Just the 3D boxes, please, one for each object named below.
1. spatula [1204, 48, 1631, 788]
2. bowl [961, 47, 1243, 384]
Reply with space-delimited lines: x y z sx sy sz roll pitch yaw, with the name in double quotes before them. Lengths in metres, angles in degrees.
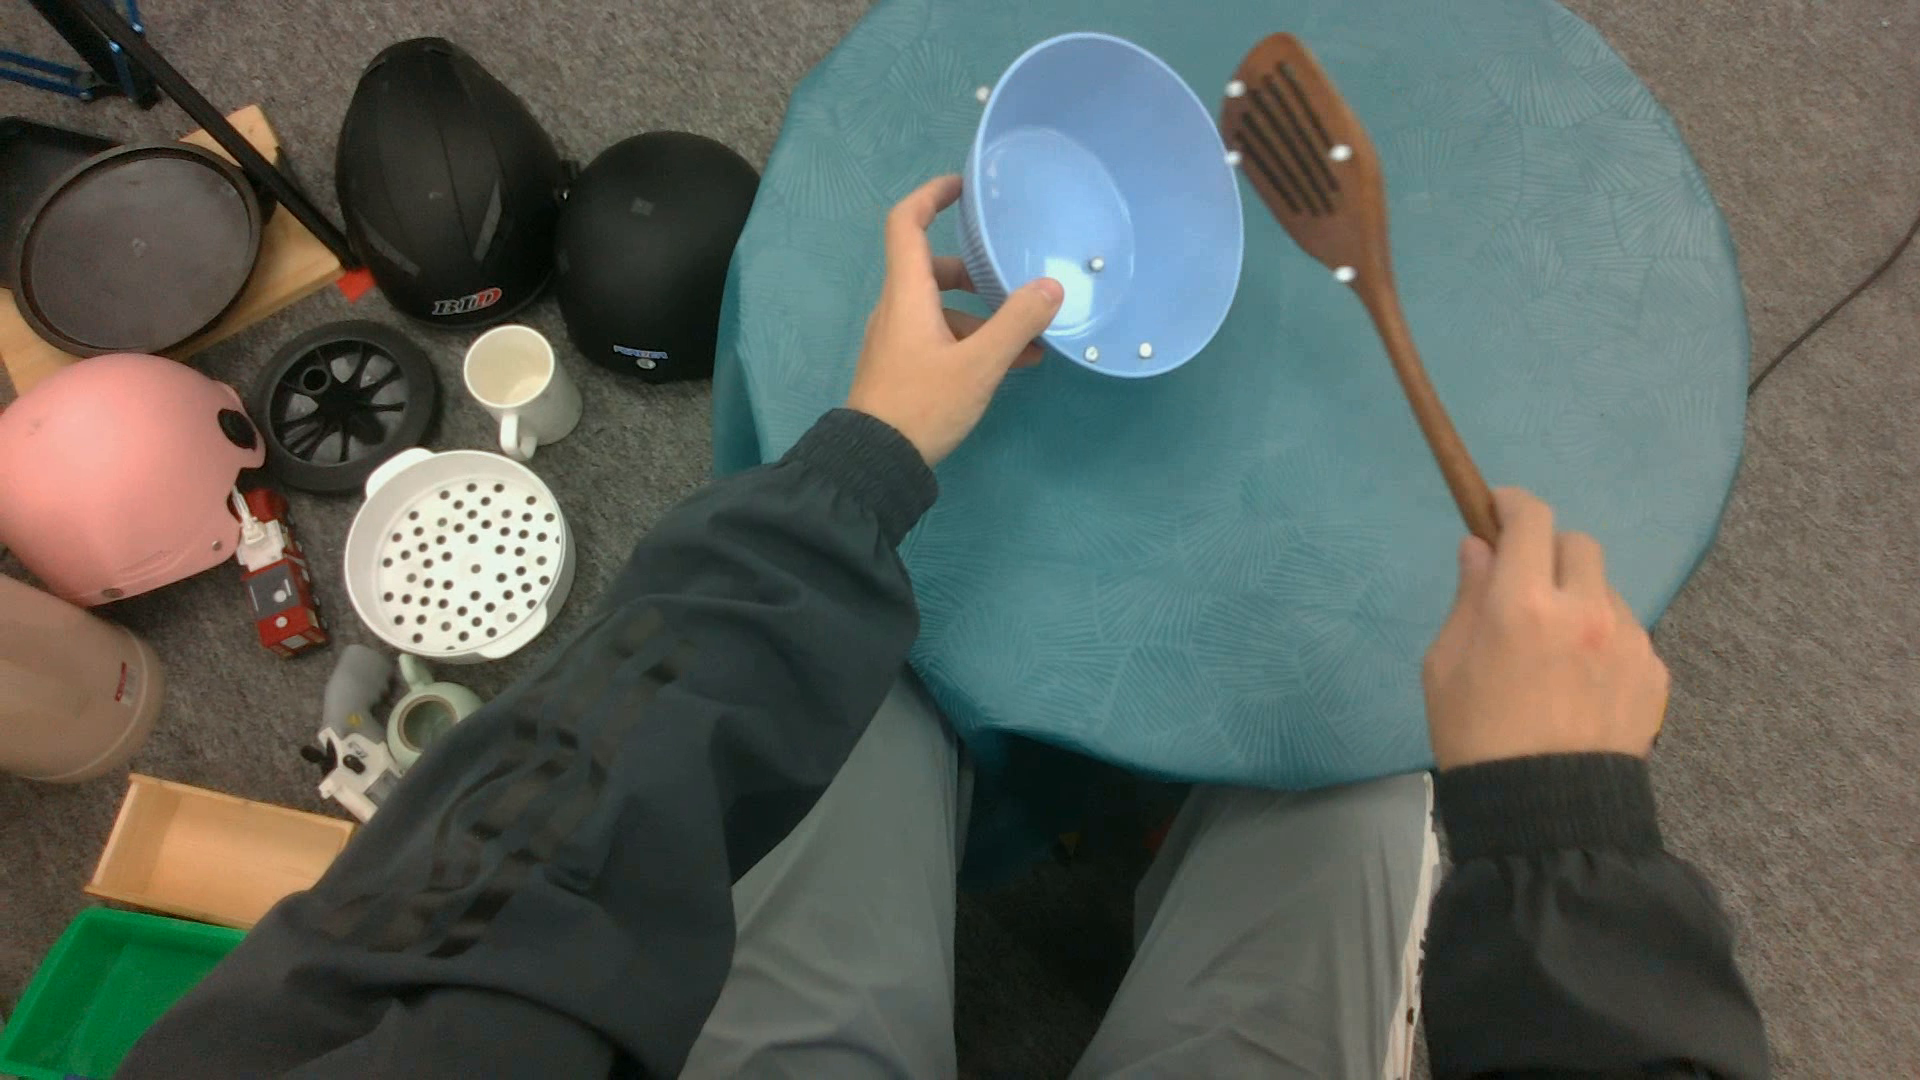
"spatula" 0.214 -0.064 0.650 0.024 0.085 0.387 -19 74 -15
"bowl" 0.067 -0.169 0.747 0.176 0.070 0.176 1 88 -31
